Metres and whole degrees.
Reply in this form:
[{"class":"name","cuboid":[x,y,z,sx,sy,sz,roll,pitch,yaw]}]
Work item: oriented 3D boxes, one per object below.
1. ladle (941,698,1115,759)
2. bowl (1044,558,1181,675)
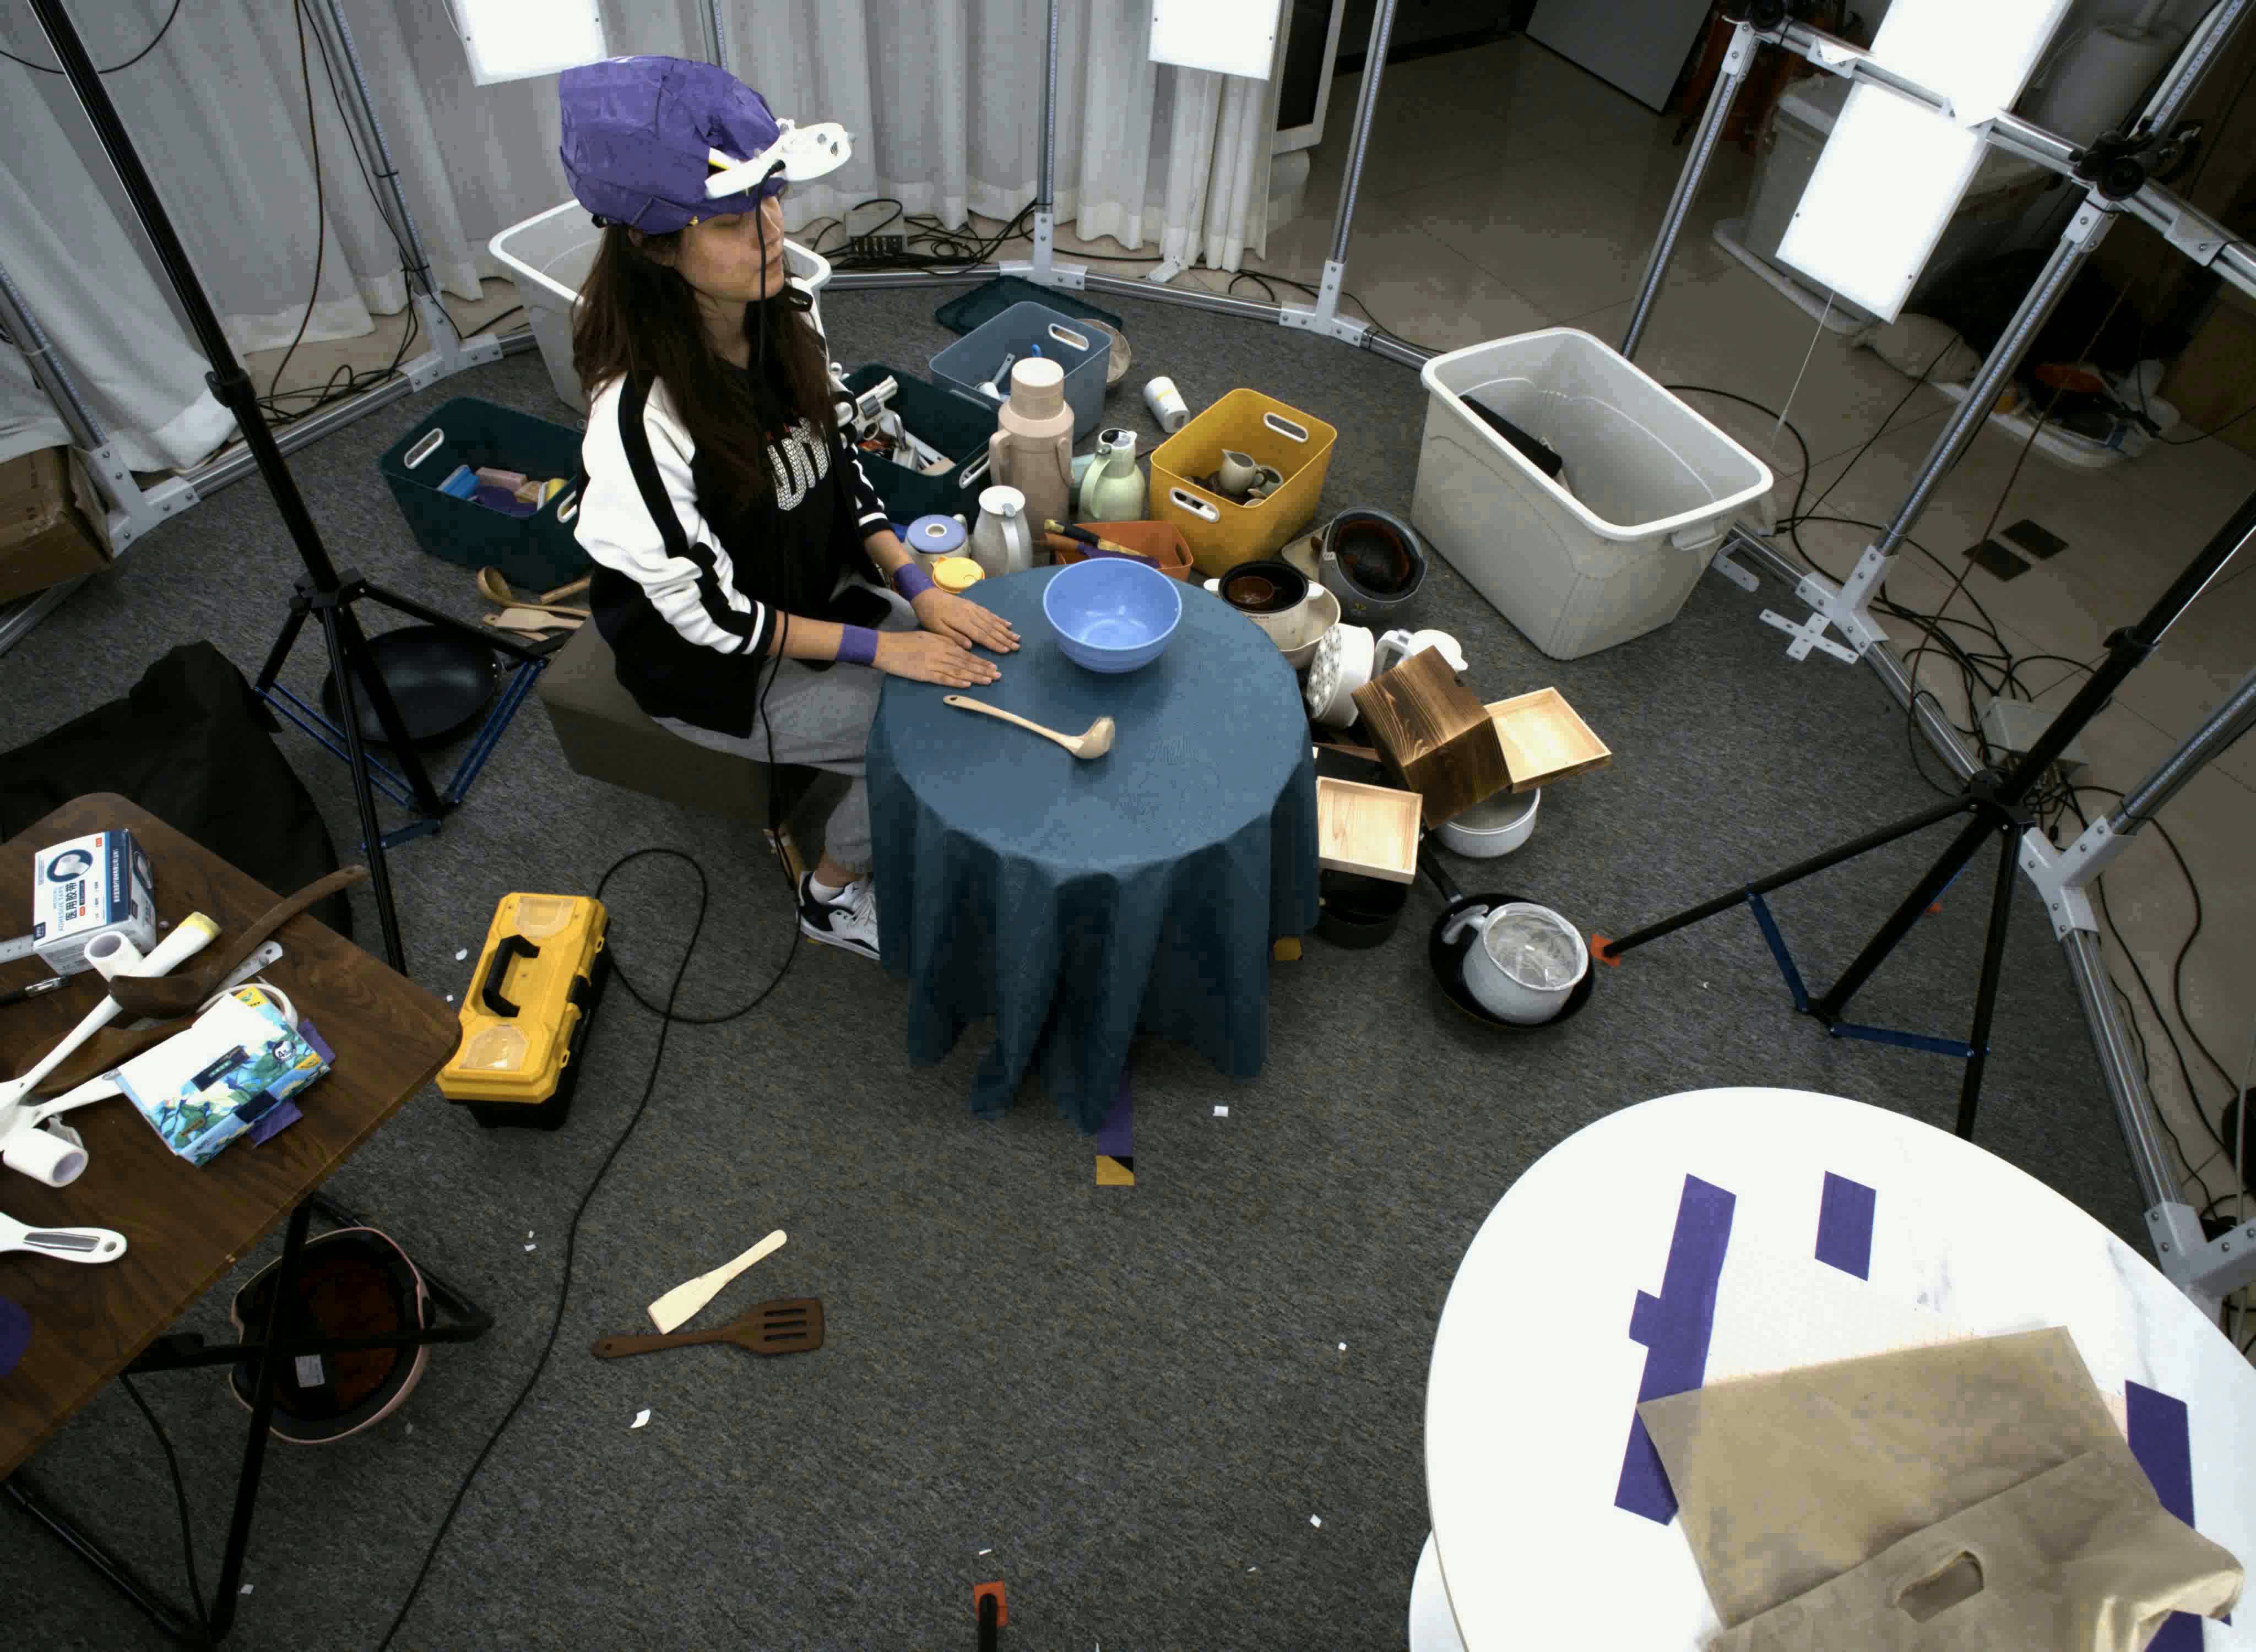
[{"class":"ladle","cuboid":[-0.141,-0.157,1.750,0.255,0.071,0.073,19,49,12]},{"class":"bowl","cuboid":[-0.025,-0.287,1.858,0.196,0.093,0.201,2,50,-3]}]
